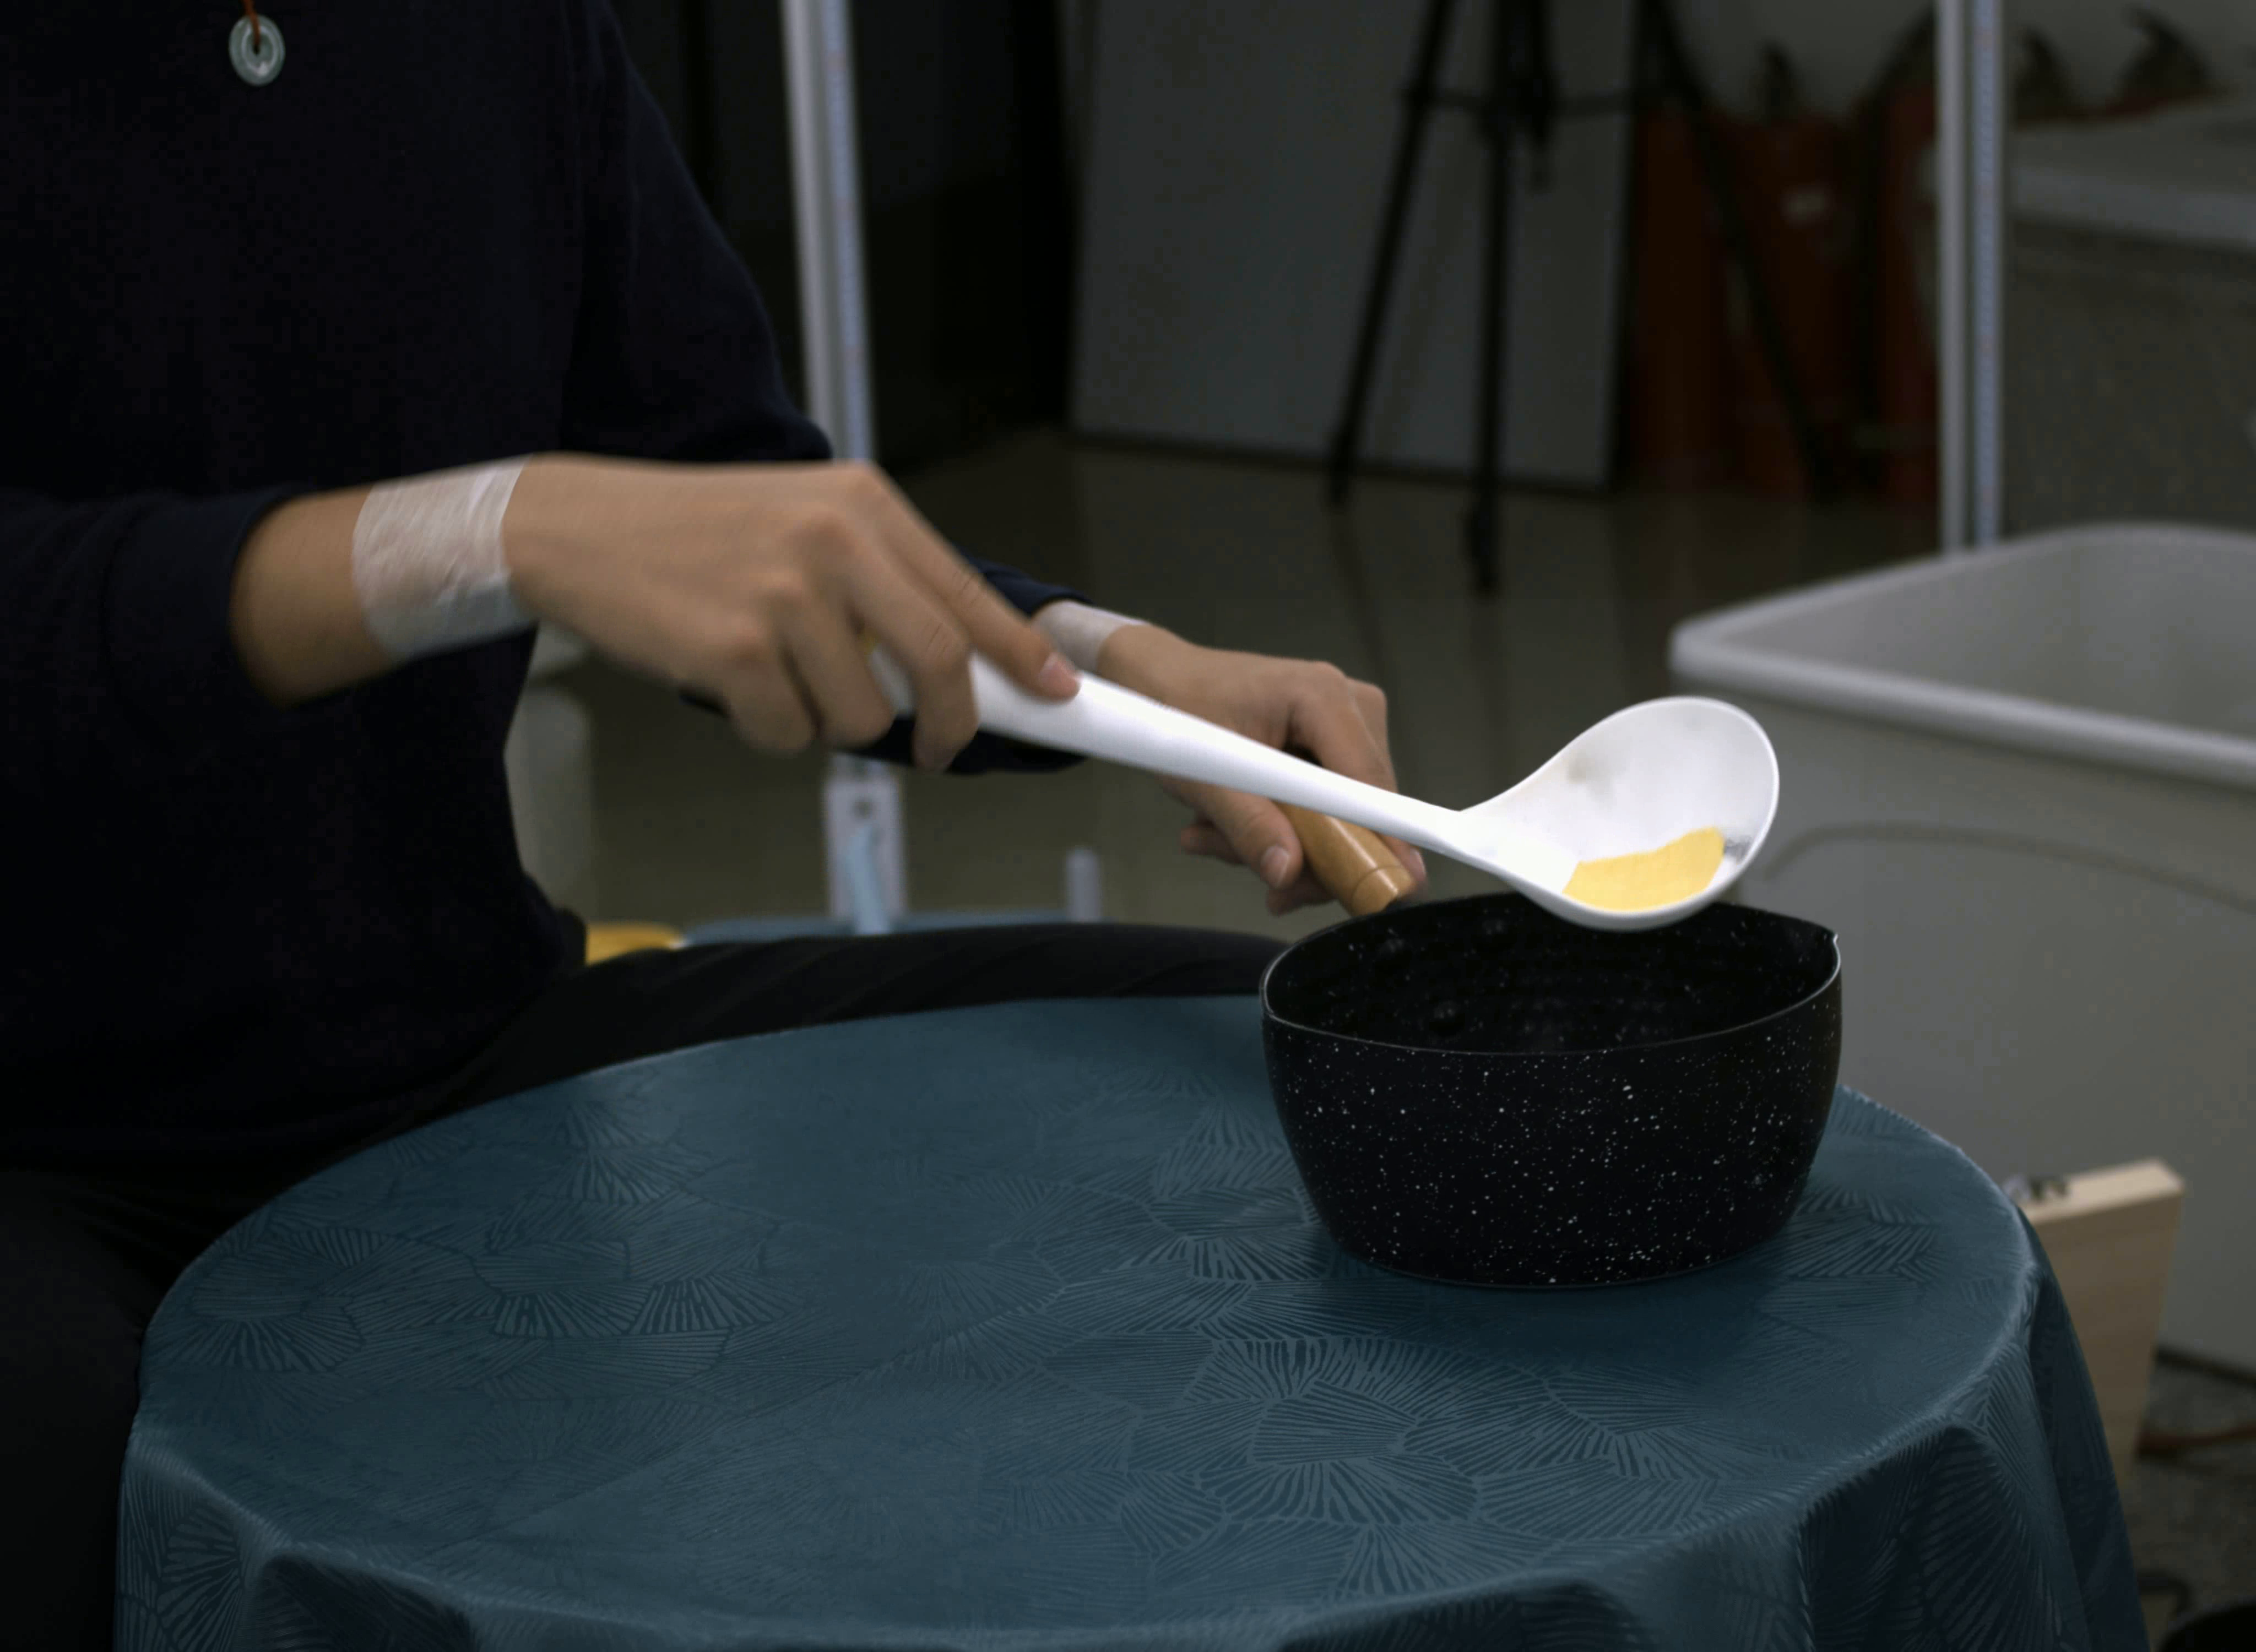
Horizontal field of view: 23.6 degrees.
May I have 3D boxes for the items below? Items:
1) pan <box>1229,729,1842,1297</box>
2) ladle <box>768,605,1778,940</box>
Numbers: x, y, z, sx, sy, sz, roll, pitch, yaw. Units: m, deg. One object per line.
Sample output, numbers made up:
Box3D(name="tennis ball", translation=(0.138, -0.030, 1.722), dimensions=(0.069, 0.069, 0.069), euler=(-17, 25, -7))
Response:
Box3D(name="pan", translation=(0.106, 0.056, 1.776), dimensions=(0.203, 0.109, 0.346), euler=(-10, 16, -19))
Box3D(name="ladle", translation=(0.042, -0.026, 1.576), dimensions=(0.289, 0.070, 0.091), euler=(14, 52, -5))
